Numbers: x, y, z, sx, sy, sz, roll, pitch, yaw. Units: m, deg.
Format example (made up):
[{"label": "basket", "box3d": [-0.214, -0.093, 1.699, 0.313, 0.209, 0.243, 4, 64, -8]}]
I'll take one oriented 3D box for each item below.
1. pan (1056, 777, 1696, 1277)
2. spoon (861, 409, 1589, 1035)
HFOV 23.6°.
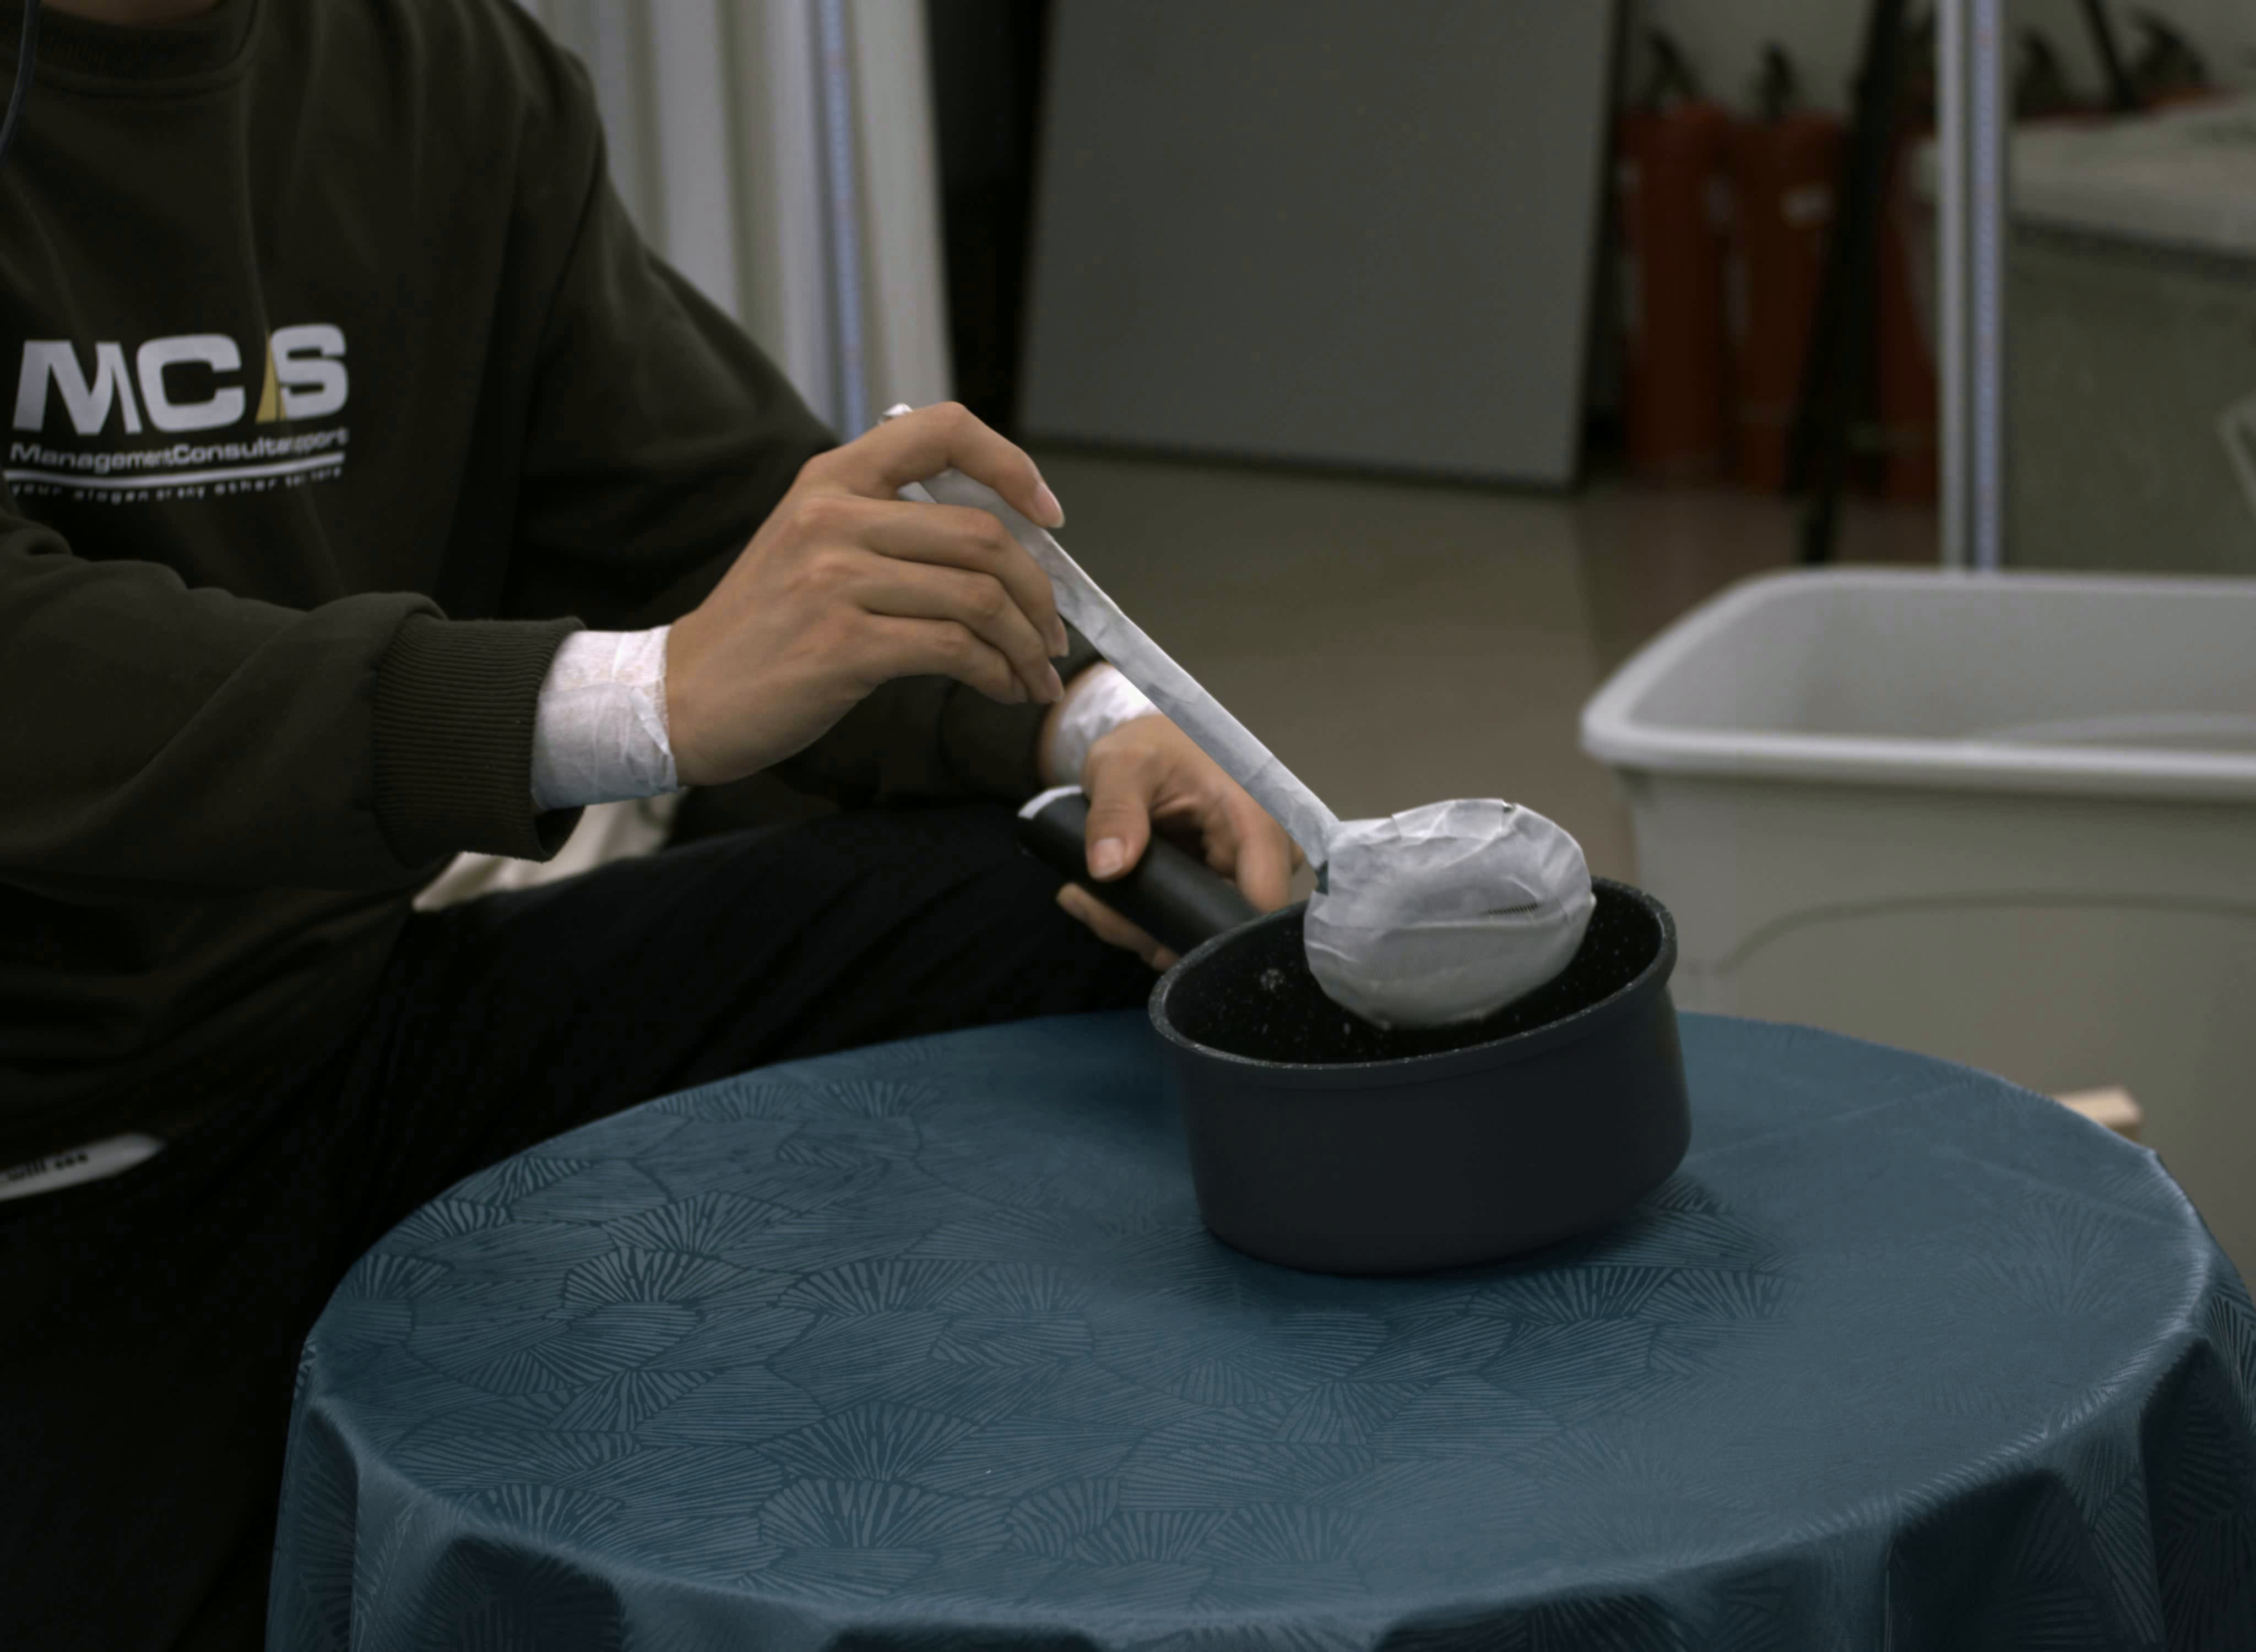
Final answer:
[{"label": "pan", "box3d": [0.062, 0.060, 1.794, 0.168, 0.087, 0.332, -17, 19, -22]}, {"label": "spoon", "box3d": [0.025, -0.037, 1.699, 0.277, 0.101, 0.059, 42, 19, 5]}]
